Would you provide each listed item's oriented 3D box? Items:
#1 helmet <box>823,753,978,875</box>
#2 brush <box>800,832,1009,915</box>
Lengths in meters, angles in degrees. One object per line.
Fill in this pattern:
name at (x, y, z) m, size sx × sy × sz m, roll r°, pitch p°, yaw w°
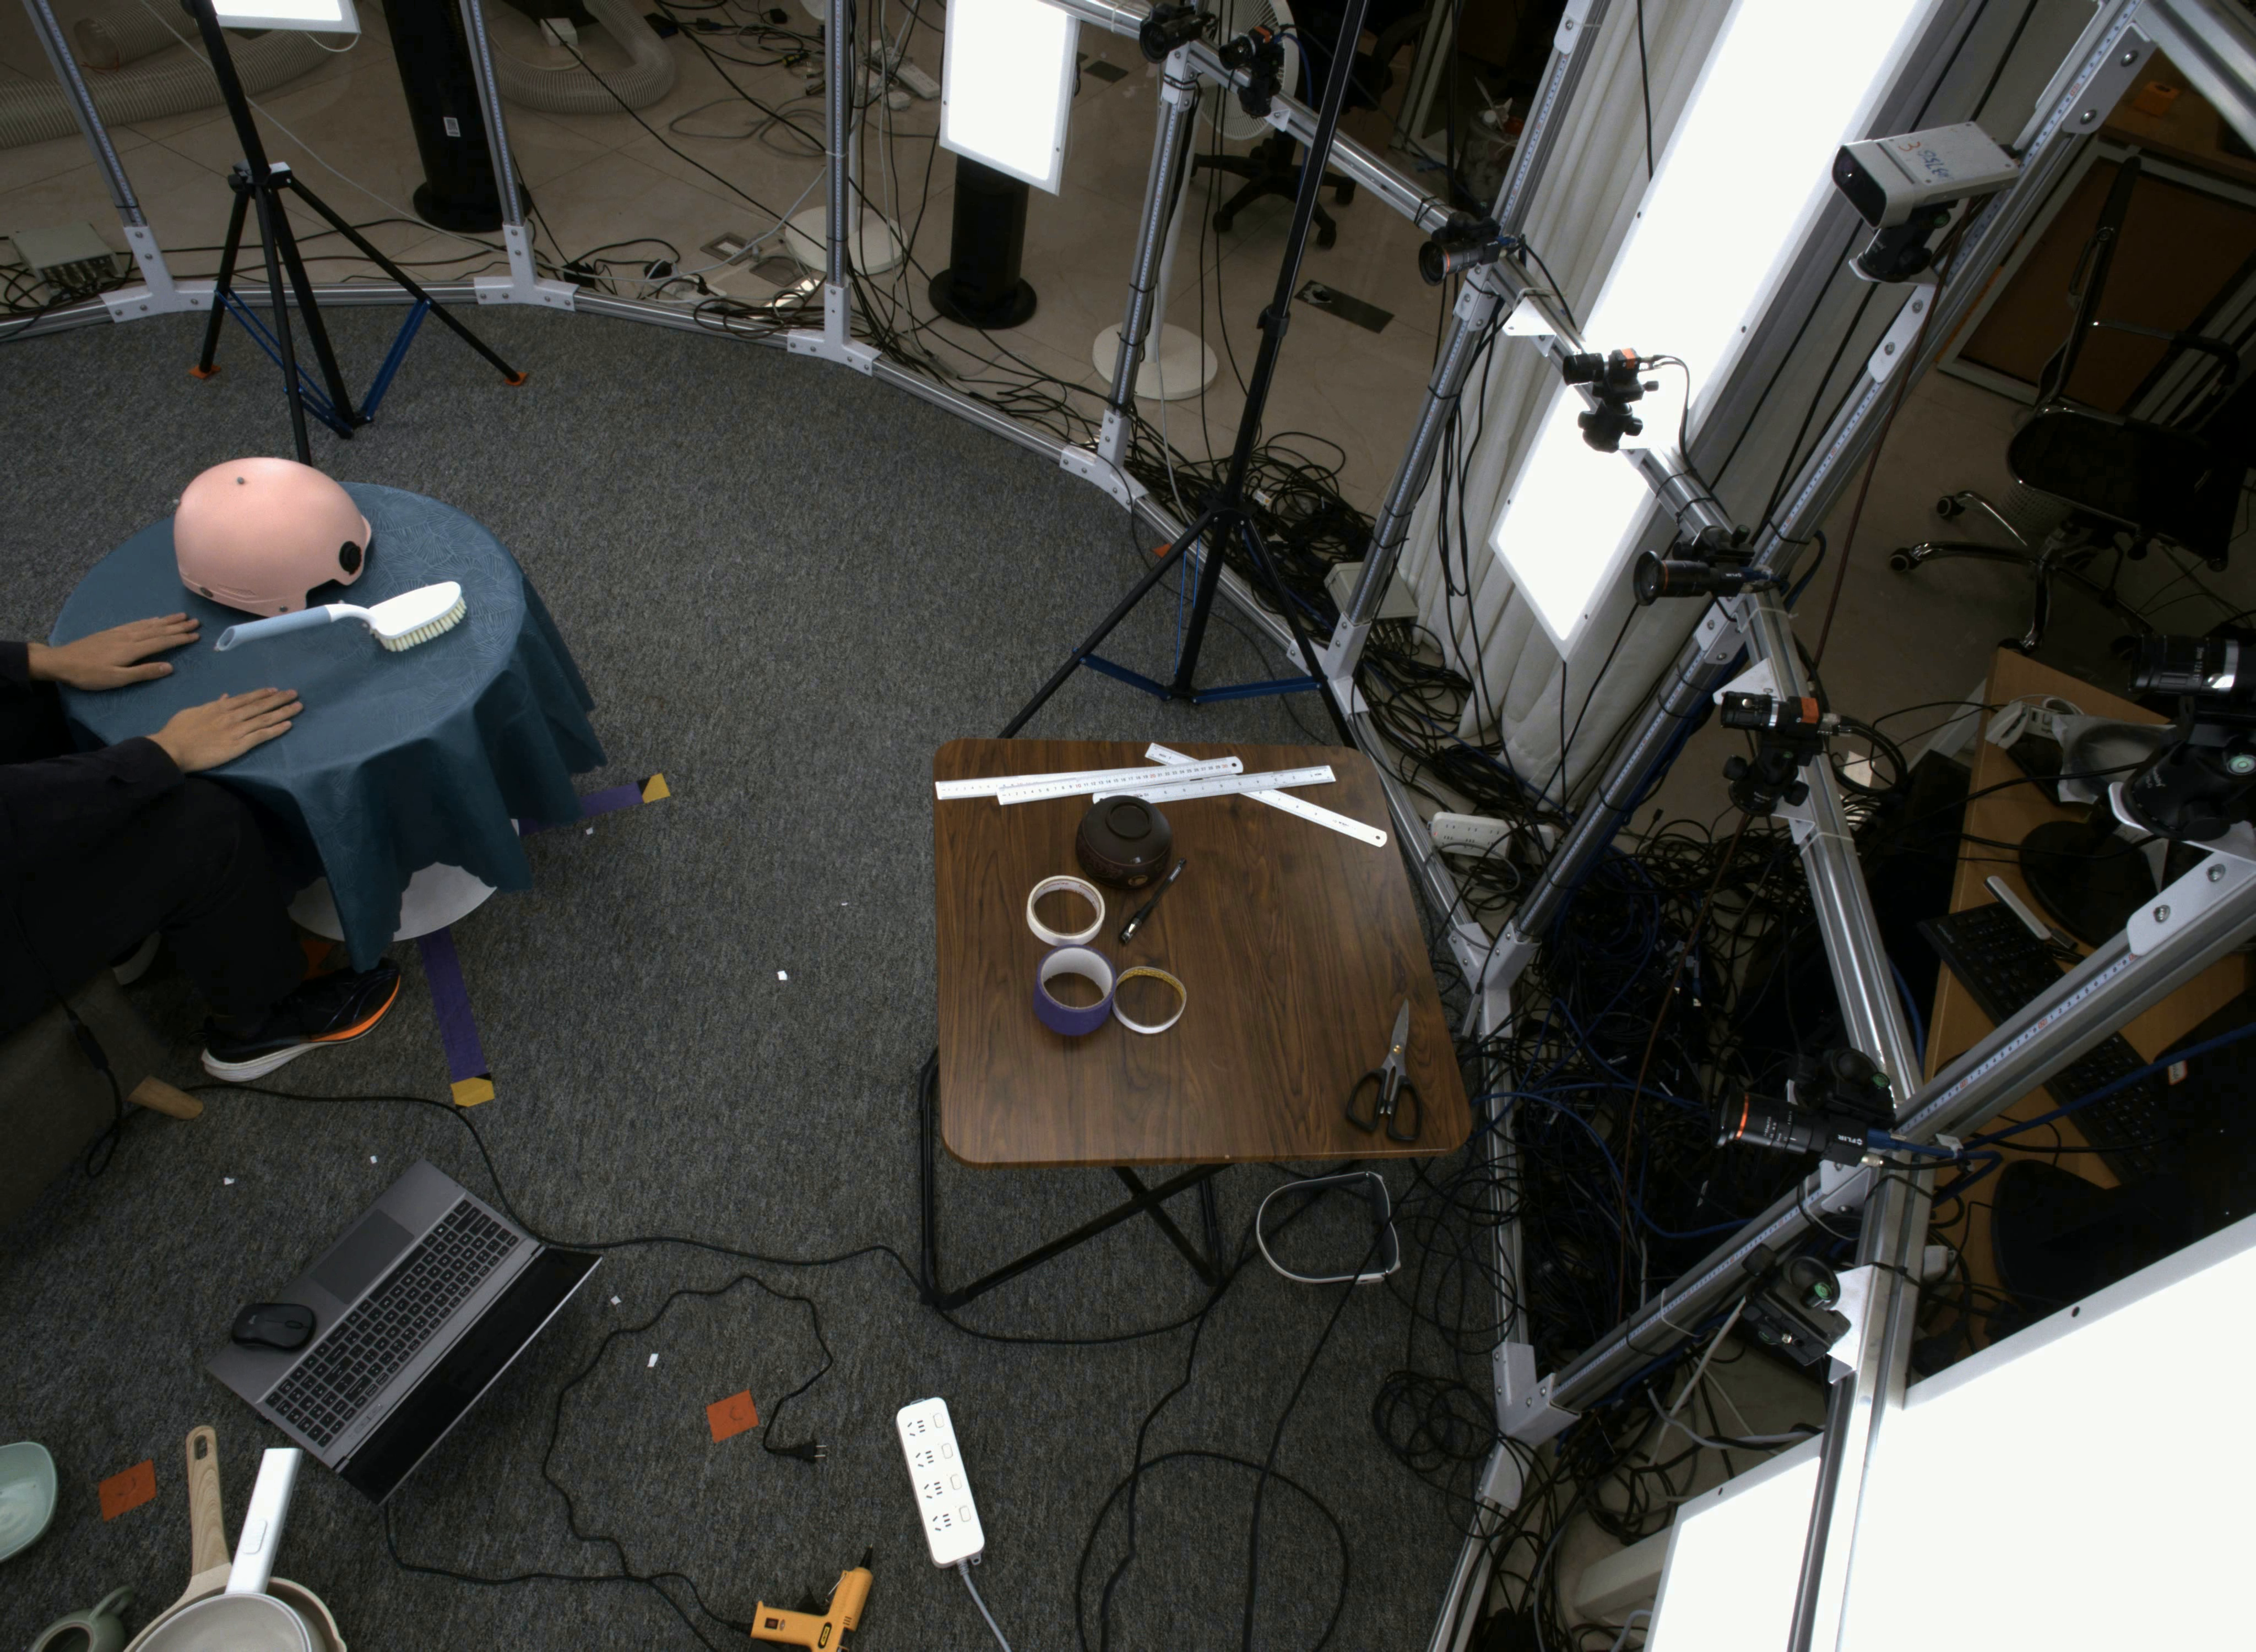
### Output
helmet at (-0.369, -0.037, 2.144) m, size 0.270 × 0.163 × 0.225 m, roll -8°, pitch 26°, yaw -39°
brush at (-0.337, 0.083, 1.961) m, size 0.329 × 0.084 × 0.082 m, roll 12°, pitch -16°, yaw -20°
